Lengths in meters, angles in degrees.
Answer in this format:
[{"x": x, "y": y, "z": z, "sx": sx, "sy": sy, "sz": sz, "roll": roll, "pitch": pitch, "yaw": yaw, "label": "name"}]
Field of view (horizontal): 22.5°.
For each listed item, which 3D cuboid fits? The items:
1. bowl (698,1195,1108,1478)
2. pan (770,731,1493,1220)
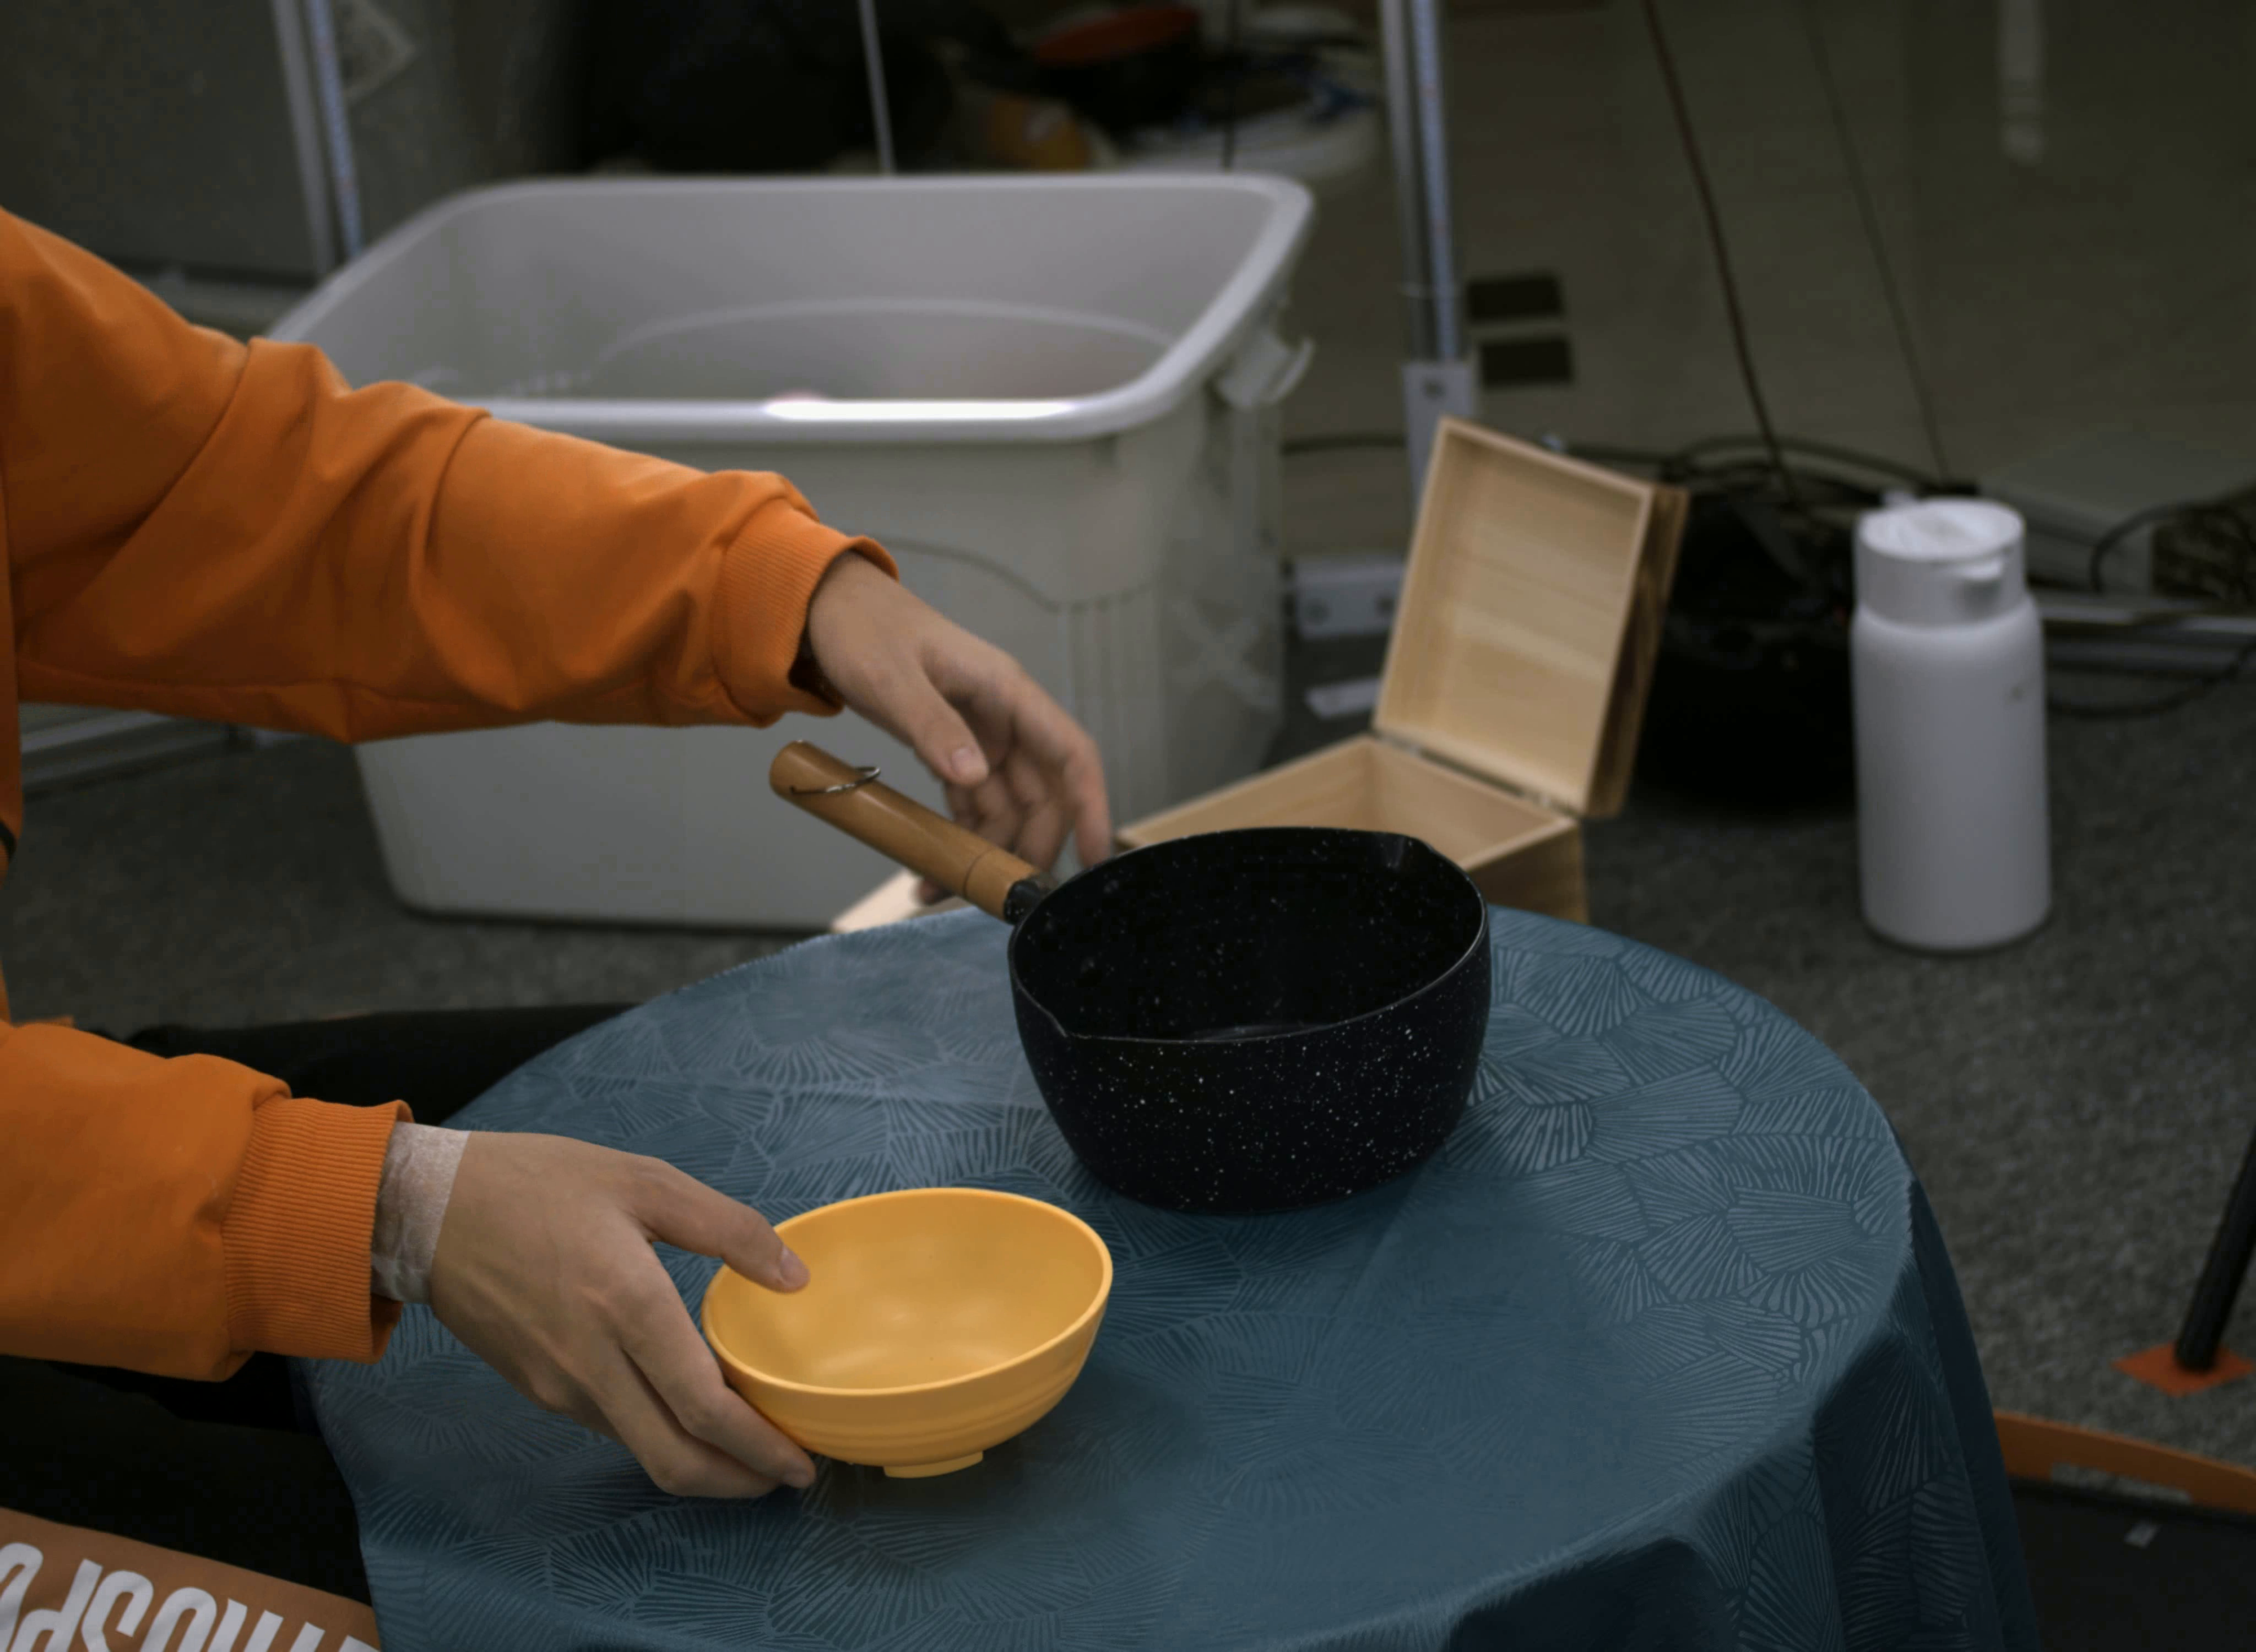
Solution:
[{"x": -0.076, "y": 0.187, "z": 1.992, "sx": 0.145, "sy": 0.061, "sz": 0.143, "roll": -5, "pitch": 24, "yaw": 2, "label": "bowl"}, {"x": -0.011, "y": 0.050, "z": 2.211, "sx": 0.340, "sy": 0.110, "sz": 0.205, "roll": 17, "pitch": 35, "yaw": 38, "label": "pan"}]
